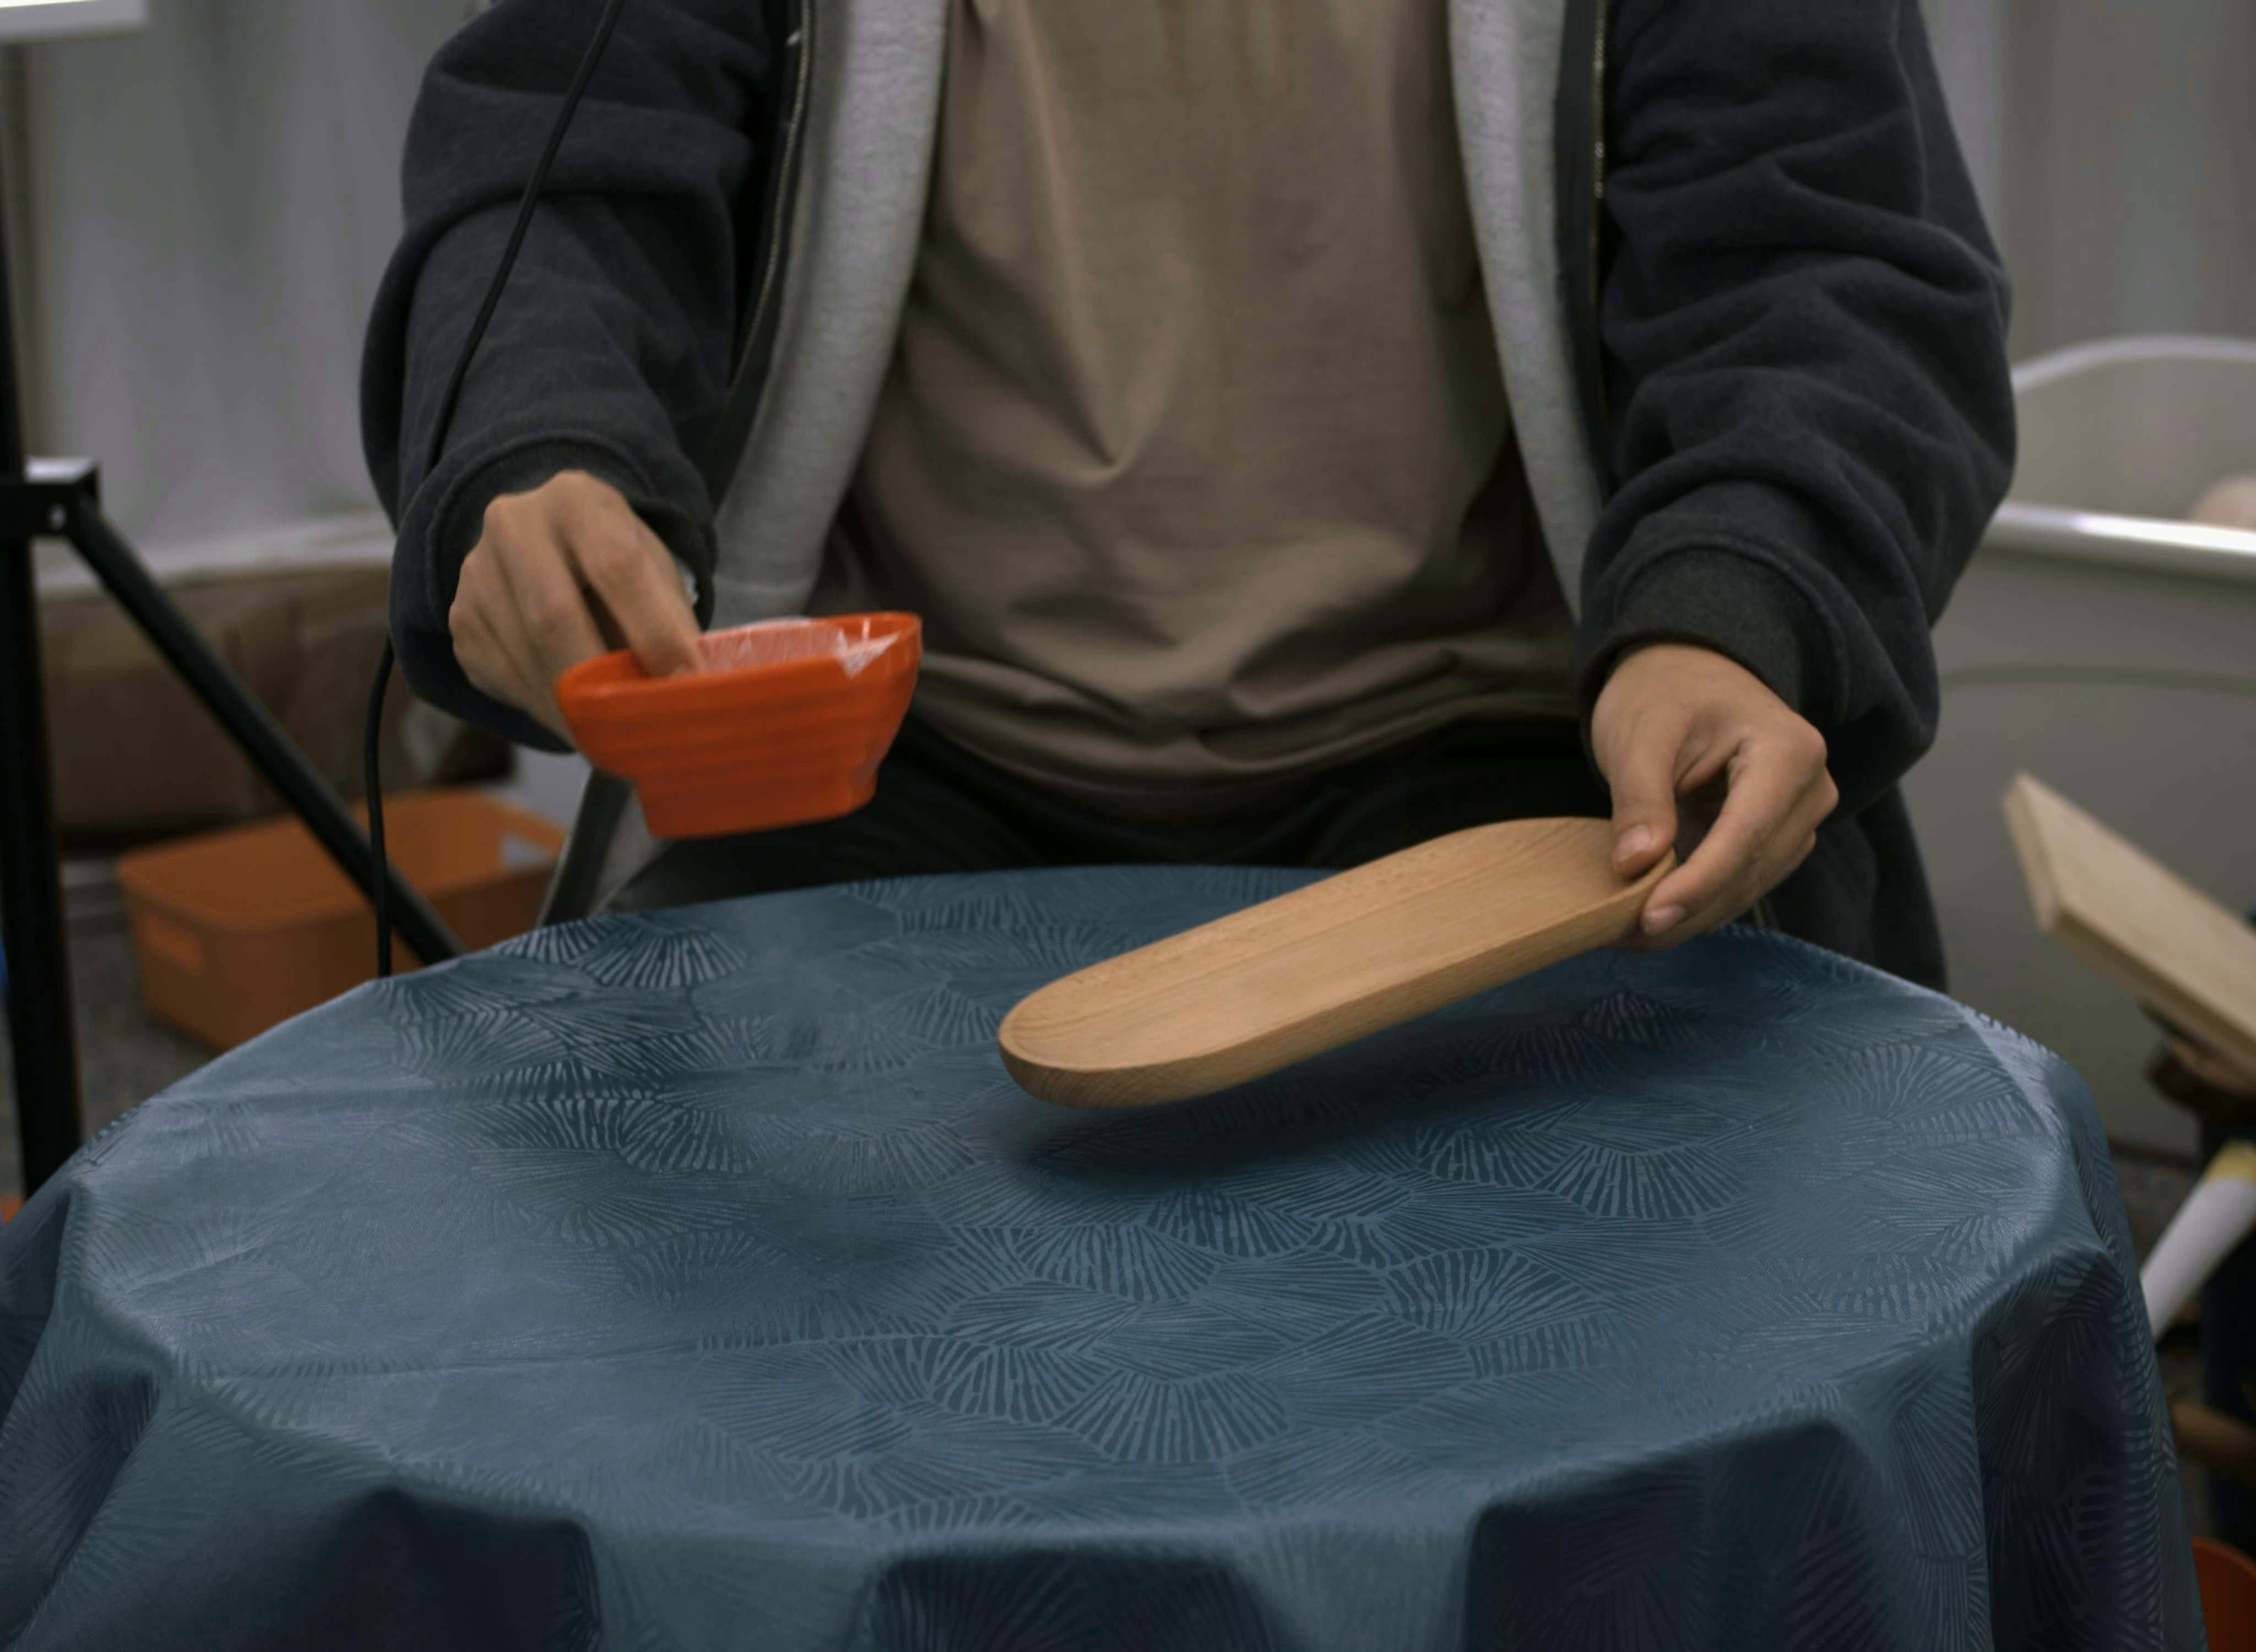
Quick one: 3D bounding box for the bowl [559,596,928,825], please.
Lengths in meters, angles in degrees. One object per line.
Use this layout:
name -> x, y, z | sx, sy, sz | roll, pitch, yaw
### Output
bowl -> -0.111, -0.033, 1.591 | 0.118, 0.051, 0.119 | -9, 9, 0

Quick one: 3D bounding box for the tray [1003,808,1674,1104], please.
tray -> 0.067, 0.039, 1.628 | 0.227, 0.020, 0.104 | -19, 20, -27
